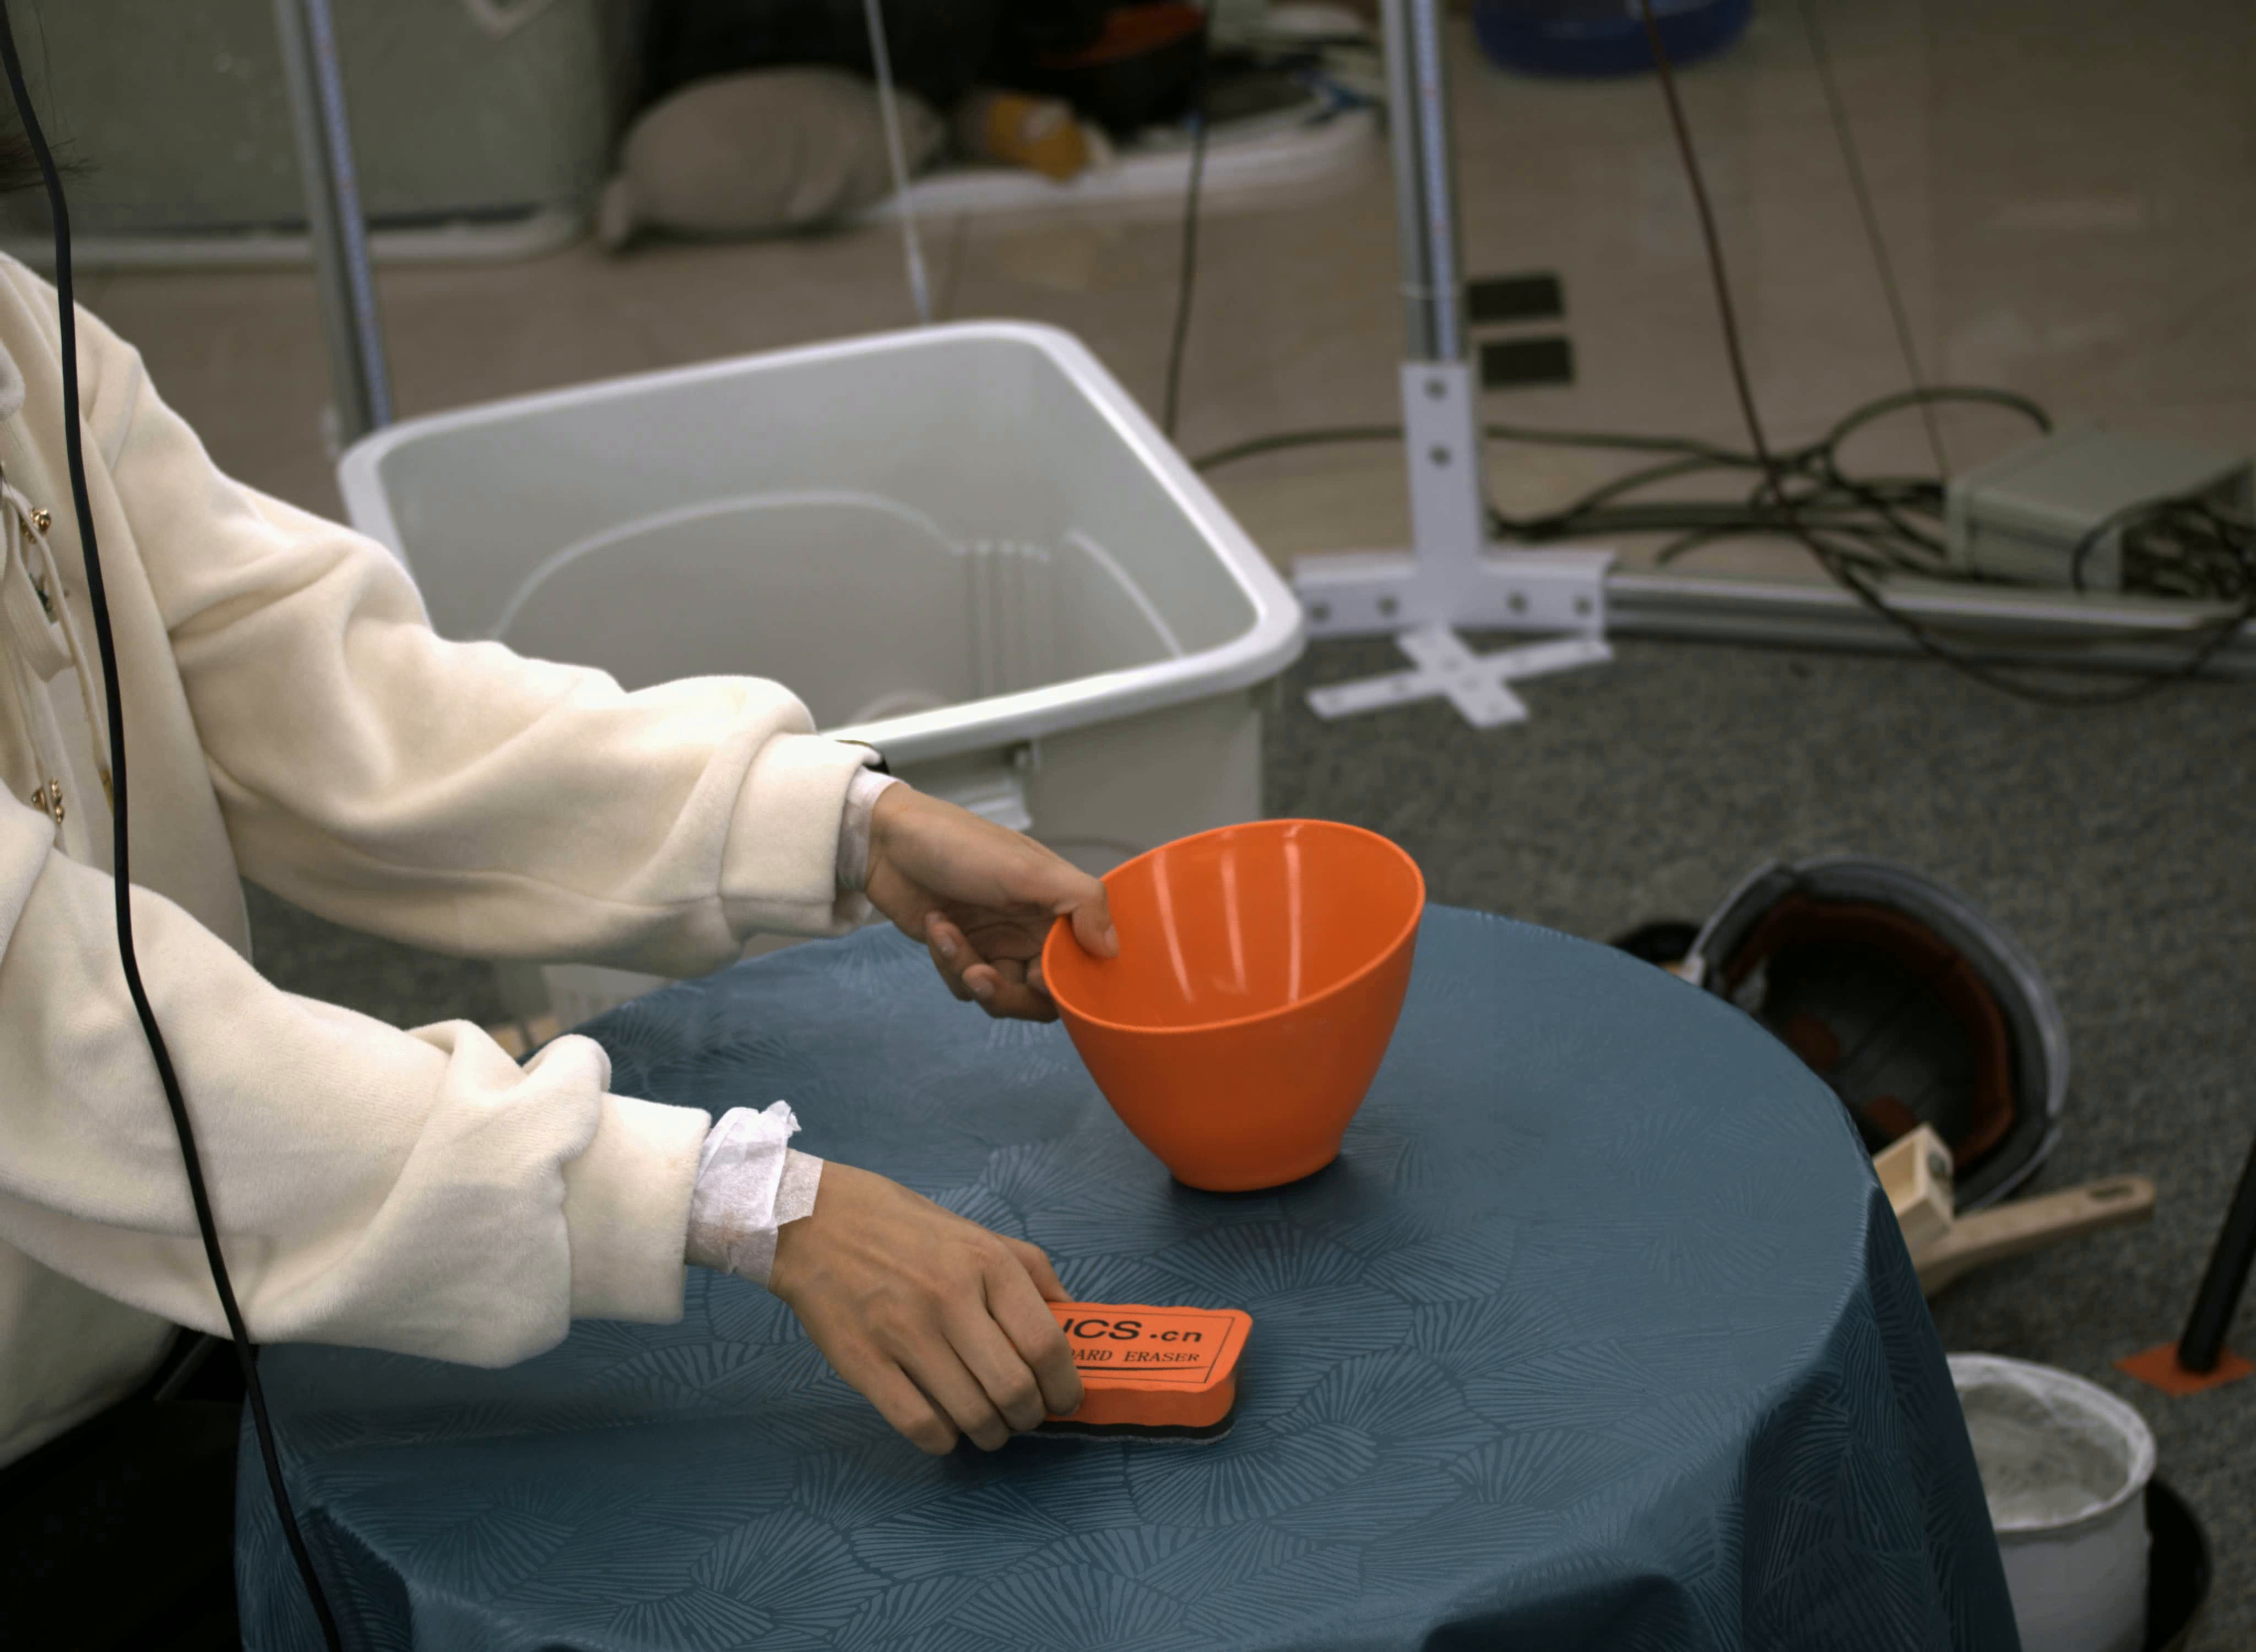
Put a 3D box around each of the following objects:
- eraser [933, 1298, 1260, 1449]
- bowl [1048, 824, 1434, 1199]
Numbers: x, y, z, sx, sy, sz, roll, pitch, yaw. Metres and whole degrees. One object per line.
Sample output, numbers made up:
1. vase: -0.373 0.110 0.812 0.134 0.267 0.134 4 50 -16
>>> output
1. eraser: -0.011 0.193 2.007 0.108 0.023 0.058 2 29 18
2. bowl: 0.047 0.076 2.148 0.148 0.106 0.146 -7 23 3
